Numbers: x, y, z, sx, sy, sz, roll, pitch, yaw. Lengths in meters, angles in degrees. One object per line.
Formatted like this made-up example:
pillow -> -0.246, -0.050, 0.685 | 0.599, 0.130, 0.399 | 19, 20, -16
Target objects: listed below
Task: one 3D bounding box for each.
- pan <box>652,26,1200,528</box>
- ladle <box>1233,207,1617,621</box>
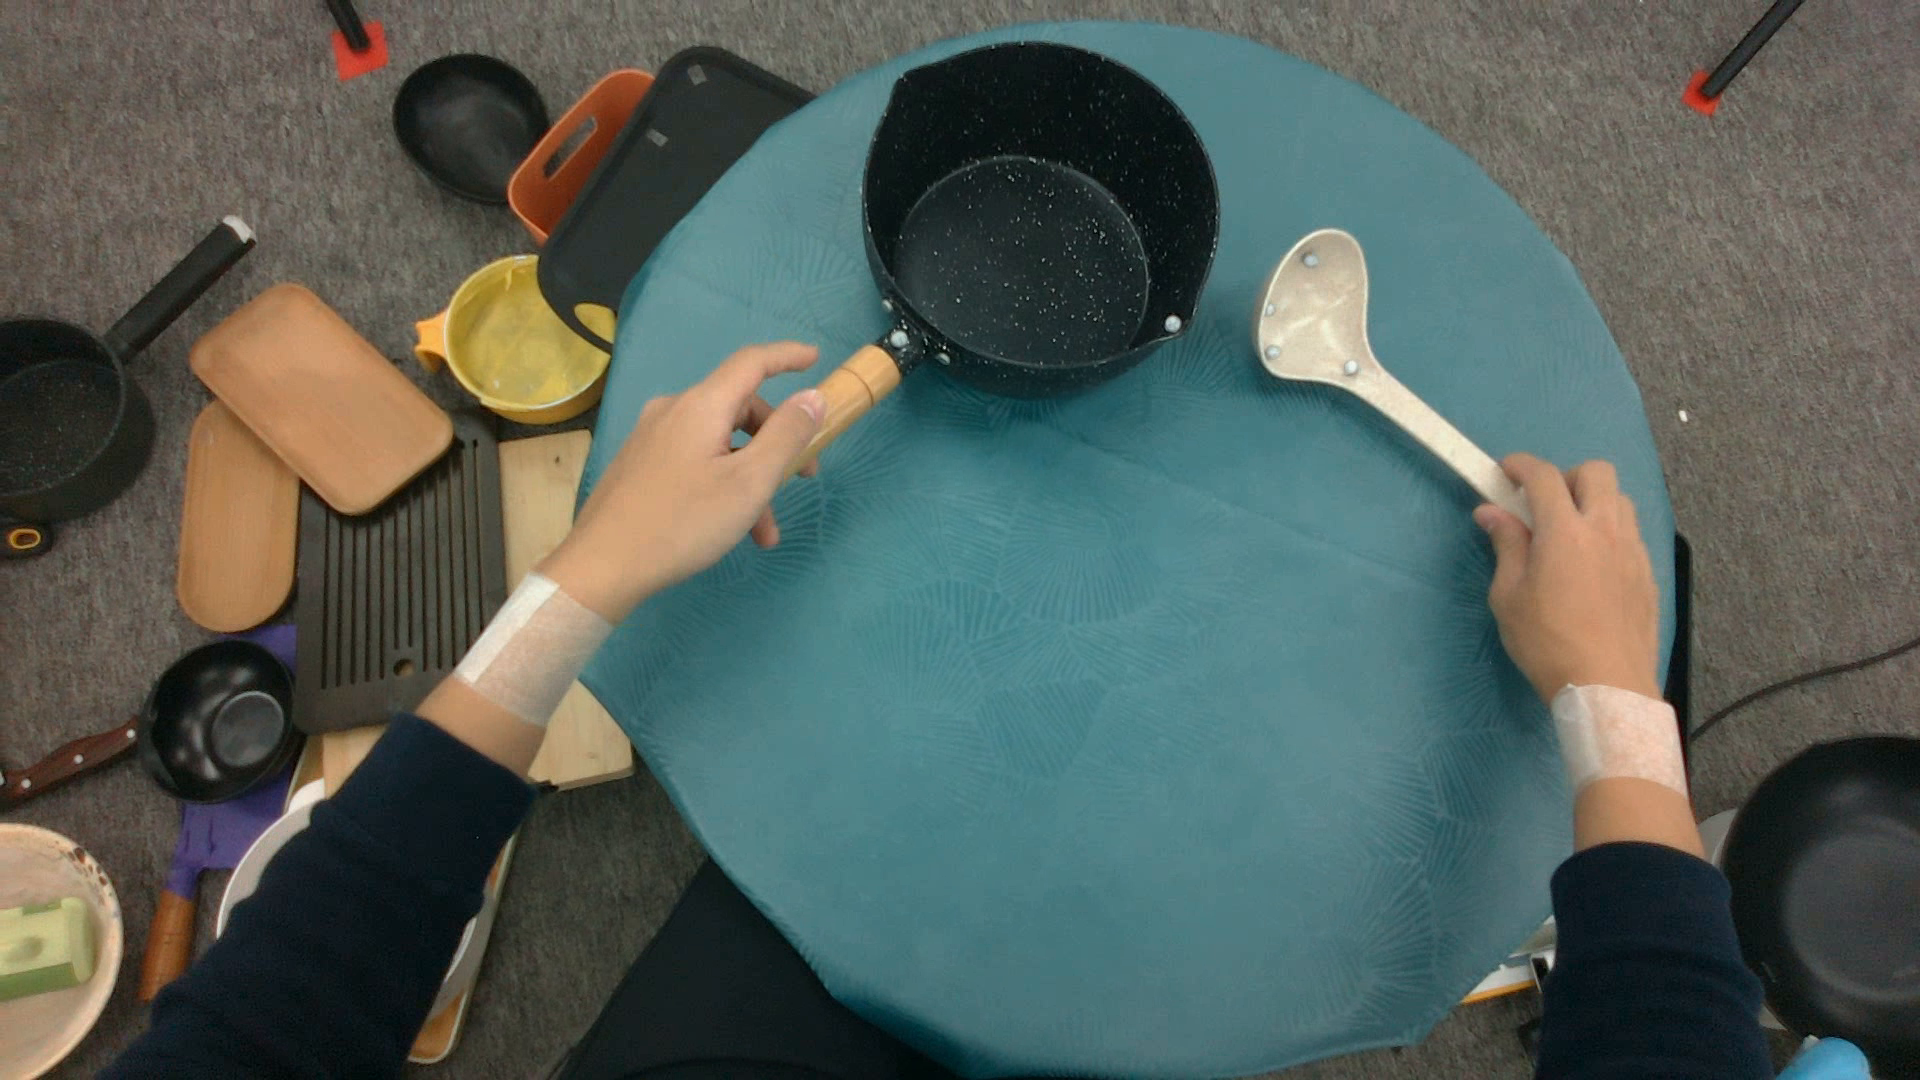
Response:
pan -> -0.022, -0.117, 0.707 | 0.207, 0.108, 0.344 | 41, 73, 5
ladle -> 0.260, -0.066, 0.738 | 0.089, 0.069, 0.275 | -40, 77, -22
